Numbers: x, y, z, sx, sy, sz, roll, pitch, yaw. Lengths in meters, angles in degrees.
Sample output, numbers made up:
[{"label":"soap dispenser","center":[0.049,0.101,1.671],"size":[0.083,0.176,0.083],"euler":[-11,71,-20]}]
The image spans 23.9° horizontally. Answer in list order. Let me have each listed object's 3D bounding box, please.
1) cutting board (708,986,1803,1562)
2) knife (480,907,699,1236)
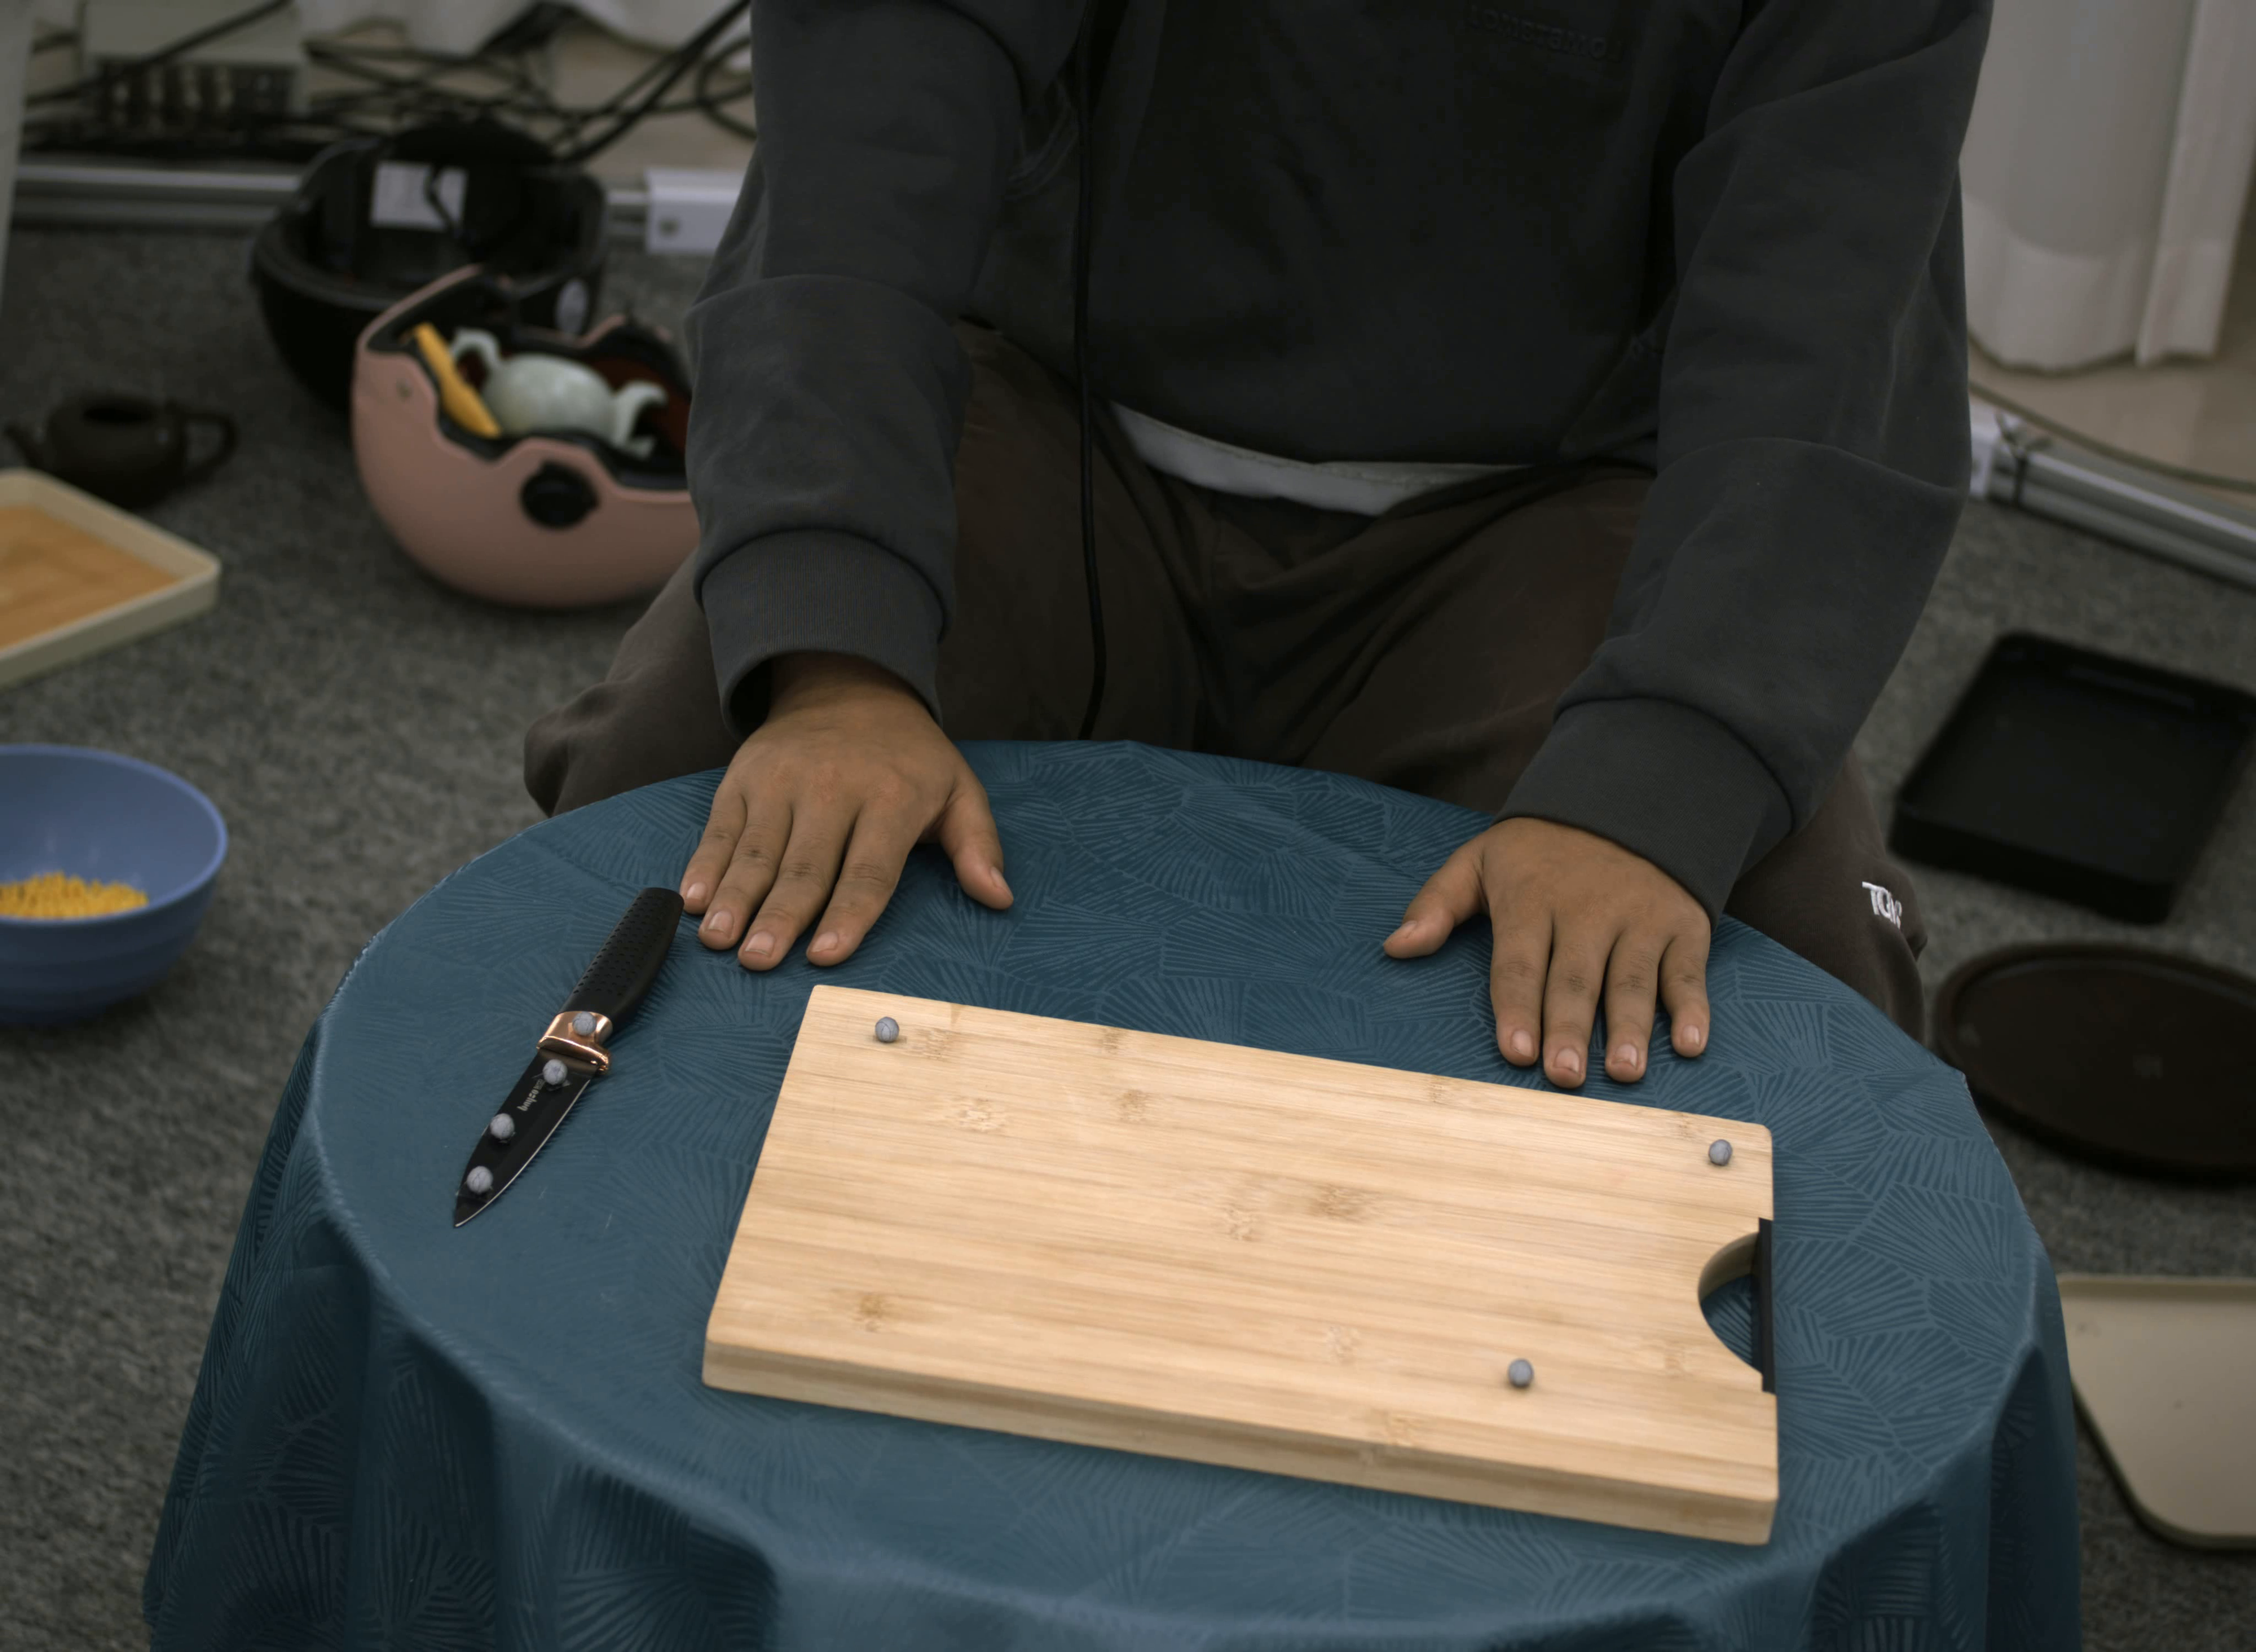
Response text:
[{"label":"cutting board","center":[0.050,0.142,1.763],"size":[0.348,0.023,0.252],"euler":[8,27,2]},{"label":"knife","center":[-0.188,0.083,1.831],"size":[0.026,0.017,0.226],"euler":[17,29,7]}]
